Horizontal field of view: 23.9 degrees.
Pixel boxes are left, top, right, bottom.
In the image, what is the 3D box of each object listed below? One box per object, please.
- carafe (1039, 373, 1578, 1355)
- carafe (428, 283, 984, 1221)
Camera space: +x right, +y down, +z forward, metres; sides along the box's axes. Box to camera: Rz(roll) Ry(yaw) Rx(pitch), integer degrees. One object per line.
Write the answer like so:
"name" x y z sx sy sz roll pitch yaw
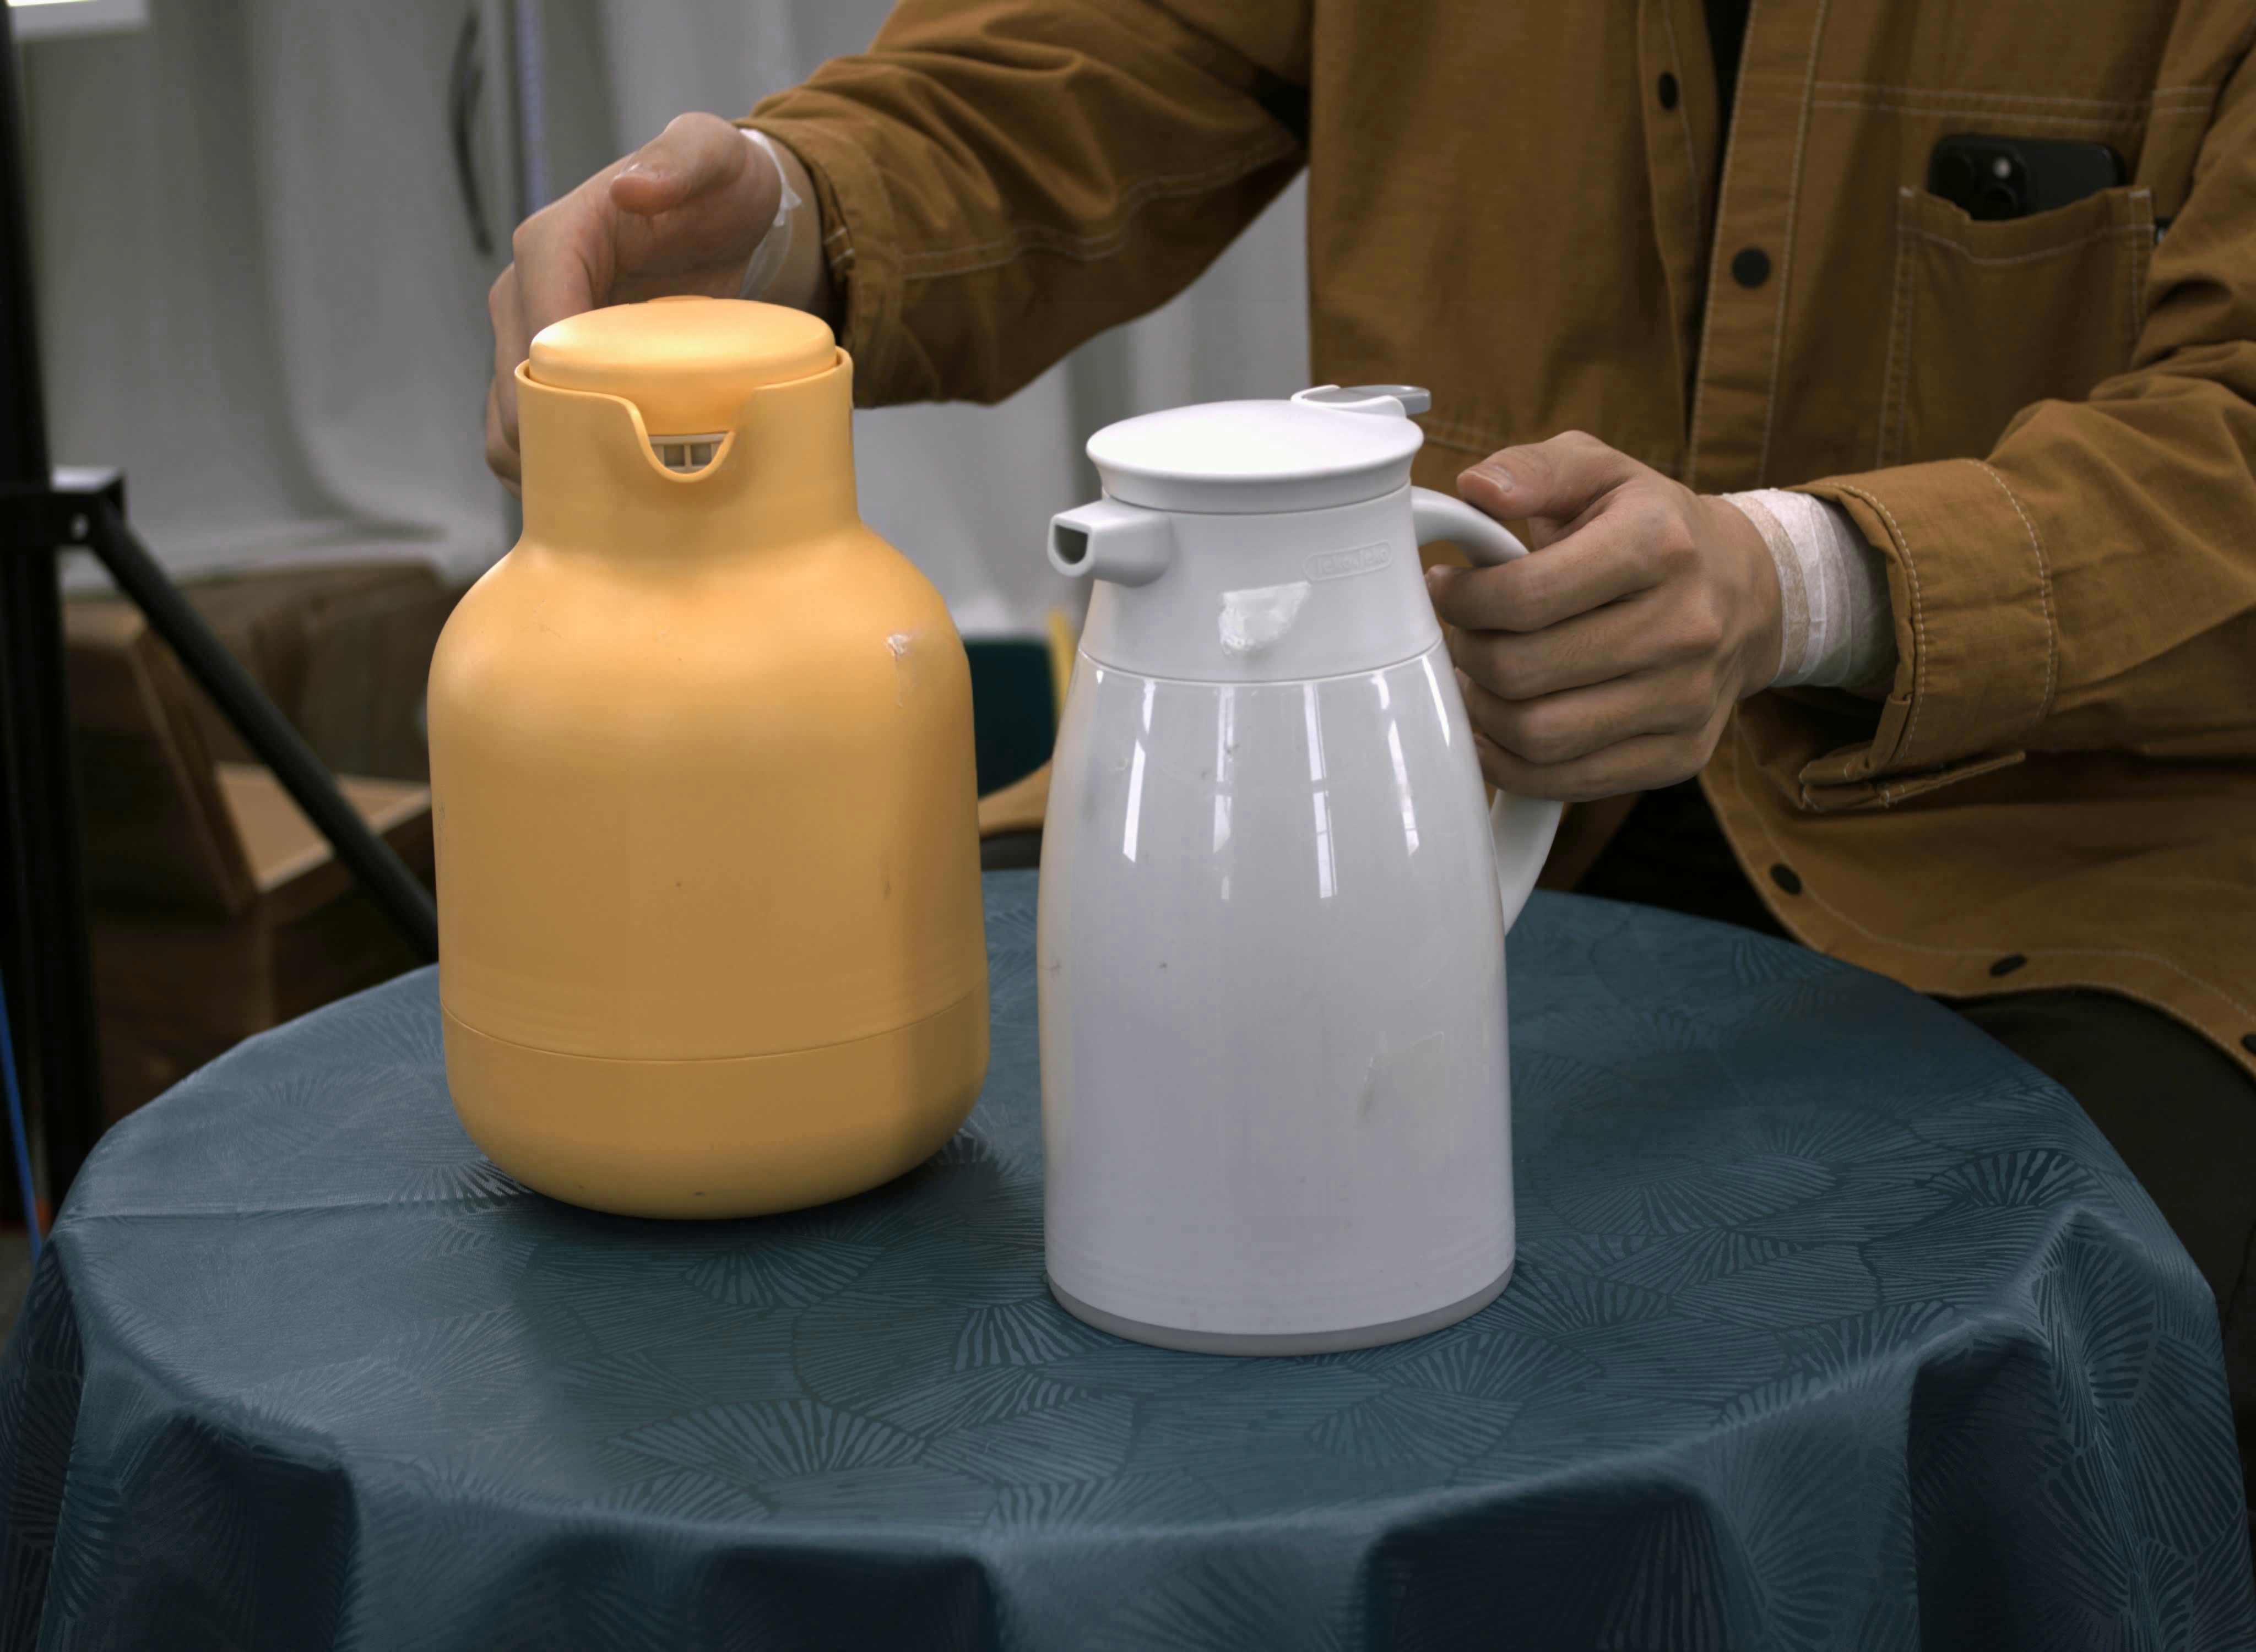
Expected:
"carafe" 0.054 0.002 1.464 0.164 0.248 0.135 -12 18 -33
"carafe" -0.124 -0.030 1.587 0.162 0.260 0.203 0 16 -2
